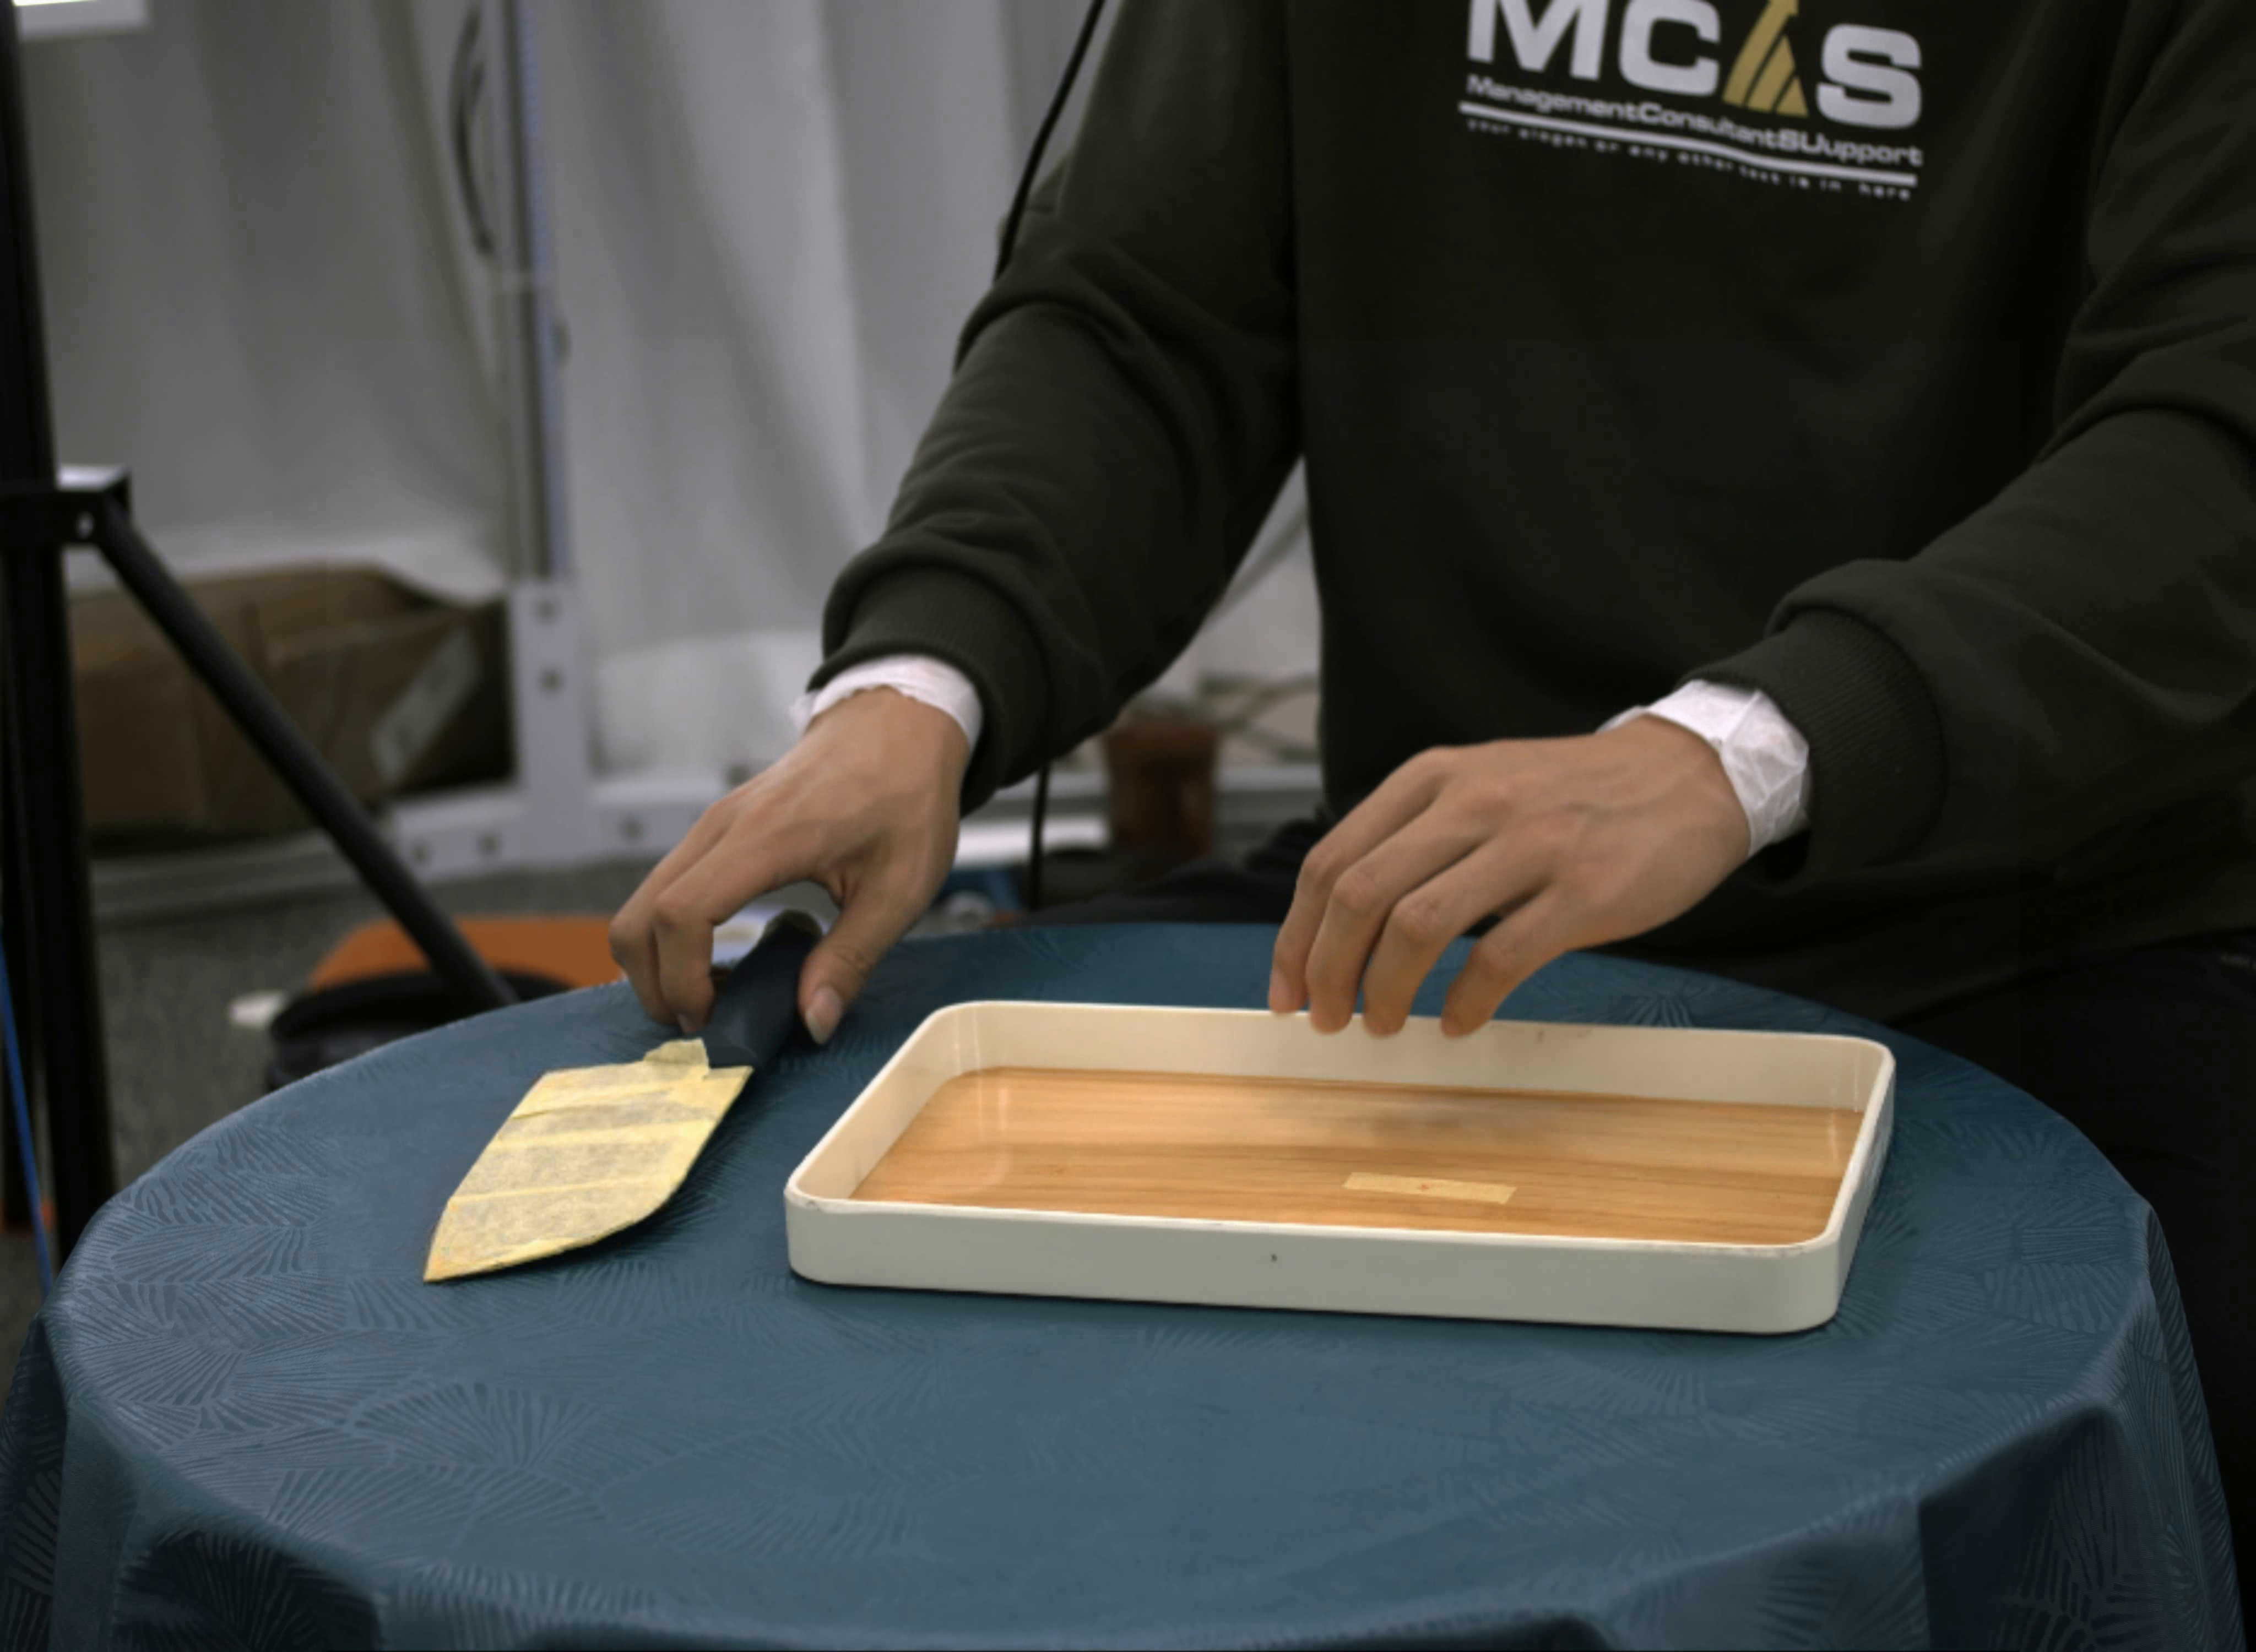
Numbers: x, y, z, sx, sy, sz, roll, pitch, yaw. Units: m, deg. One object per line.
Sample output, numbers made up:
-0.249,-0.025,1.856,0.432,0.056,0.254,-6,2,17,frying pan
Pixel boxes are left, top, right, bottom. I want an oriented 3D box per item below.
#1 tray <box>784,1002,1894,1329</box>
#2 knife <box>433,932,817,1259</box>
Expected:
0.066,0.097,1.543,0.302,0.027,0.190,2,15,15,tray
-0.150,0.083,1.647,0.081,0.027,0.287,-2,16,13,knife
